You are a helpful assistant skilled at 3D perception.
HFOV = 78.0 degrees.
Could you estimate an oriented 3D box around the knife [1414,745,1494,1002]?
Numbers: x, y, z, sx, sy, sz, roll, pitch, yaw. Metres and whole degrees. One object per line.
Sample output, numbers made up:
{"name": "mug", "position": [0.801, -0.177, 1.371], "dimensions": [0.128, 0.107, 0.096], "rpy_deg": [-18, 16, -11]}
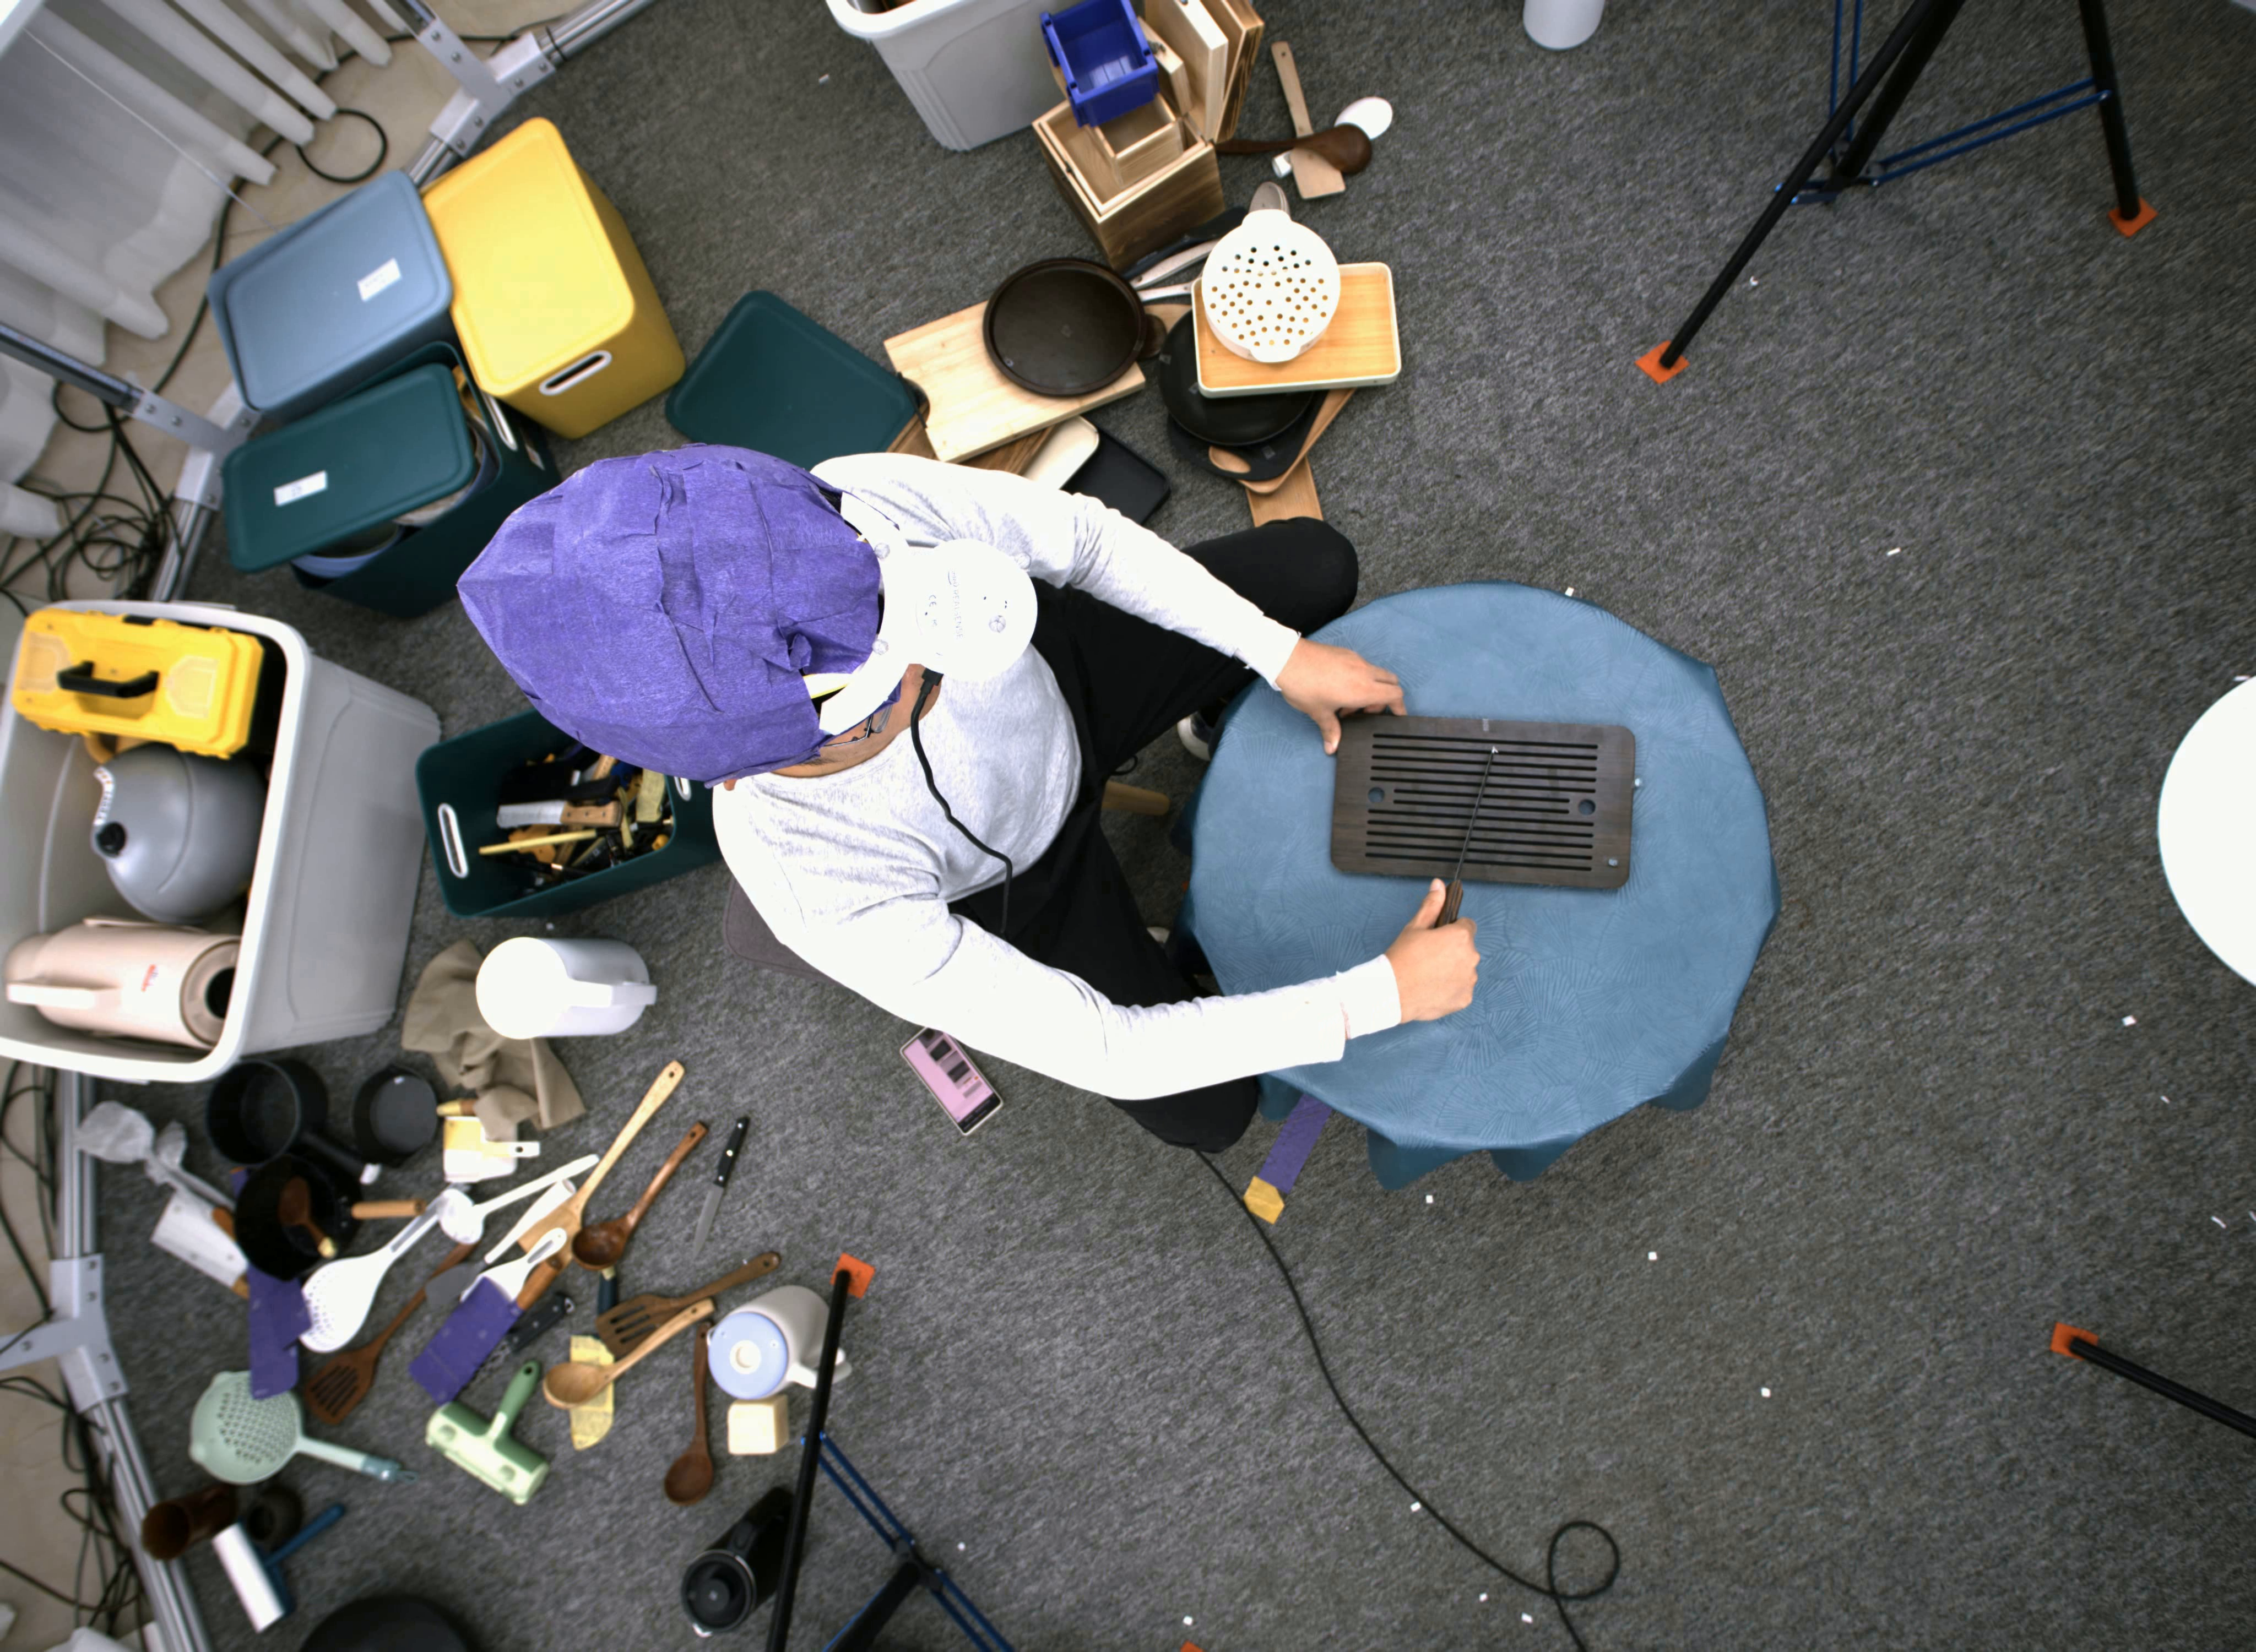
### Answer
{"name": "knife", "position": [0.329, 0.040, 1.366], "dimensions": [0.020, 0.051, 0.284], "rpy_deg": [18, 72, 9]}

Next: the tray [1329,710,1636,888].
{"name": "tray", "position": [0.369, -0.032, 1.438], "dimensions": [0.307, 0.018, 0.169], "rpy_deg": [4, 88, 11]}
